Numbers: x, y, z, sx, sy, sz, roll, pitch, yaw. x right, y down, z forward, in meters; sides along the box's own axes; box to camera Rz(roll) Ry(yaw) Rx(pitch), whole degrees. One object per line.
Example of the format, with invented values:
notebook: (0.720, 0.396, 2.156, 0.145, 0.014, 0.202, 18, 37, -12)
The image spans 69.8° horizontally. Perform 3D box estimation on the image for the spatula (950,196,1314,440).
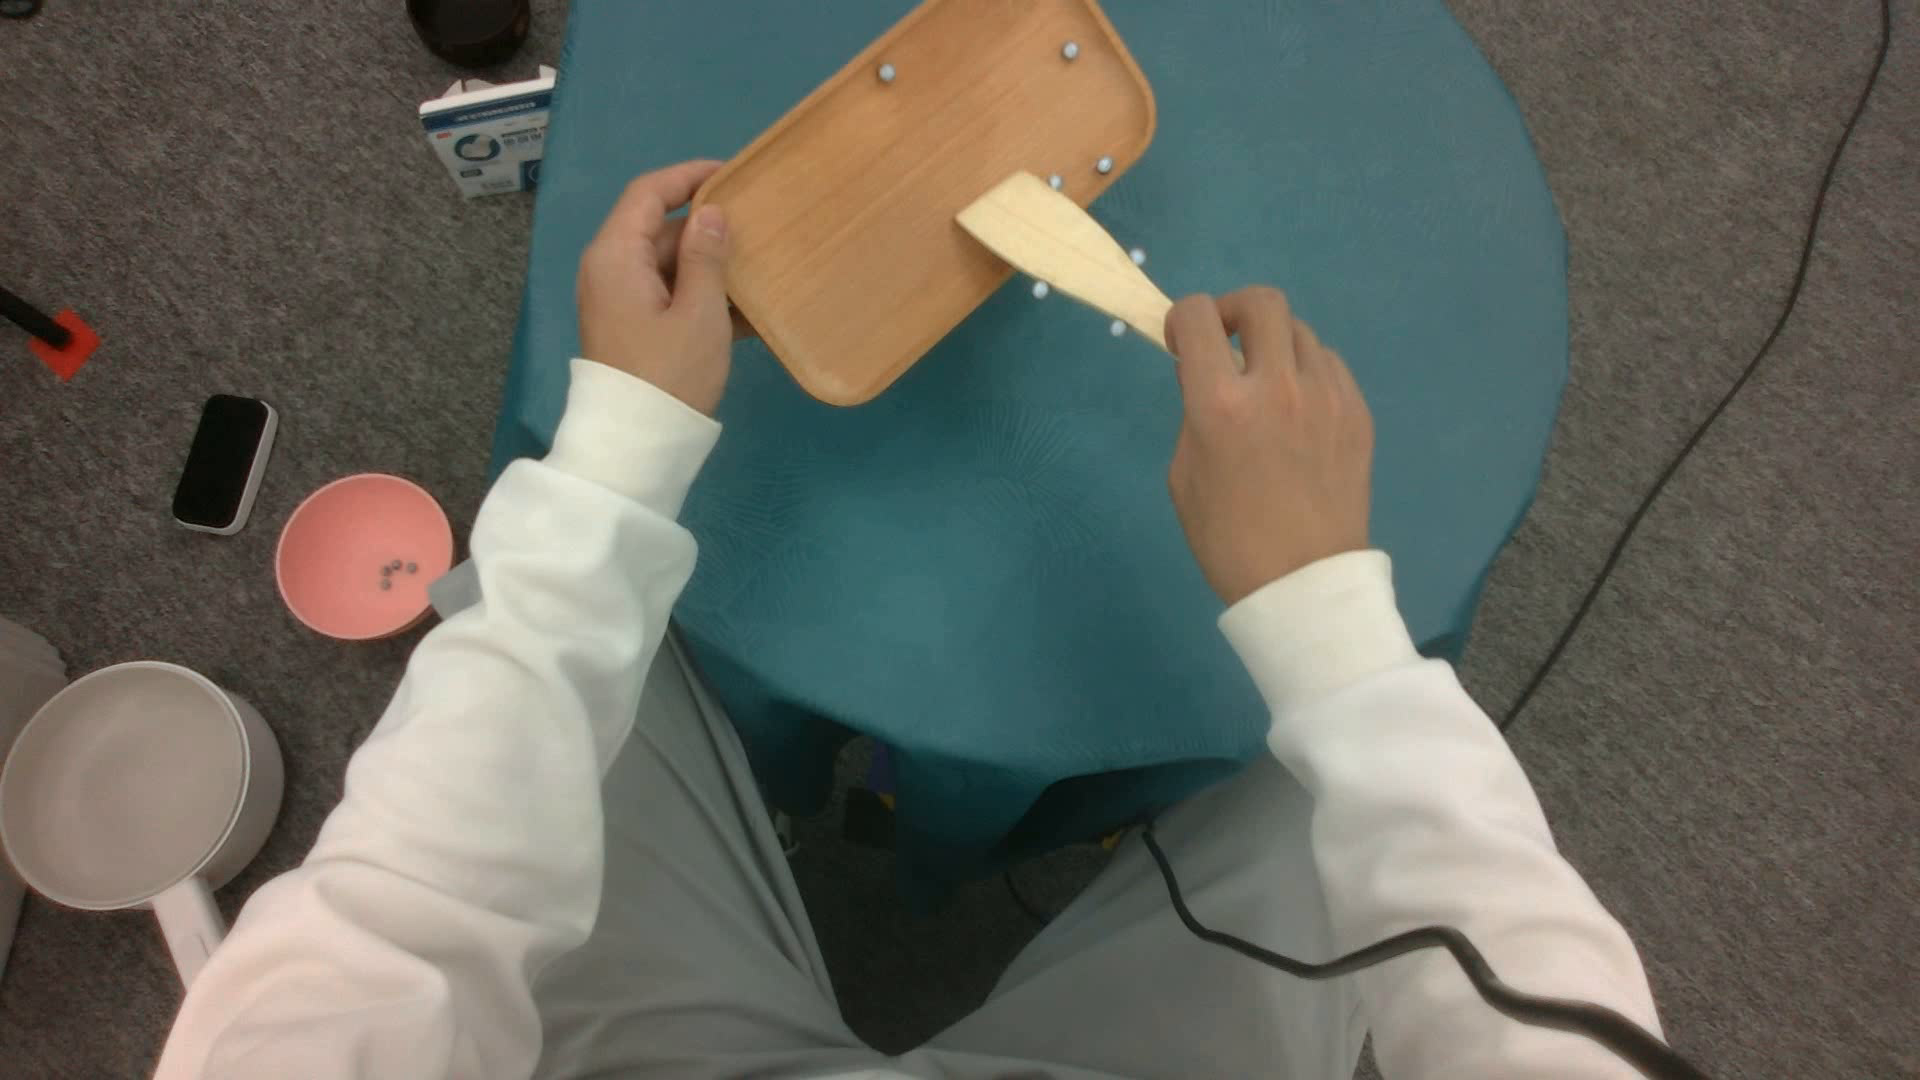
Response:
spatula: (0.083, -0.108, 0.668, 0.208, 0.005, 0.050, 38, 66, 24)

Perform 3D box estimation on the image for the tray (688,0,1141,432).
tray: (-0.017, -0.174, 0.700, 0.251, 0.023, 0.130, -46, 104, -16)
